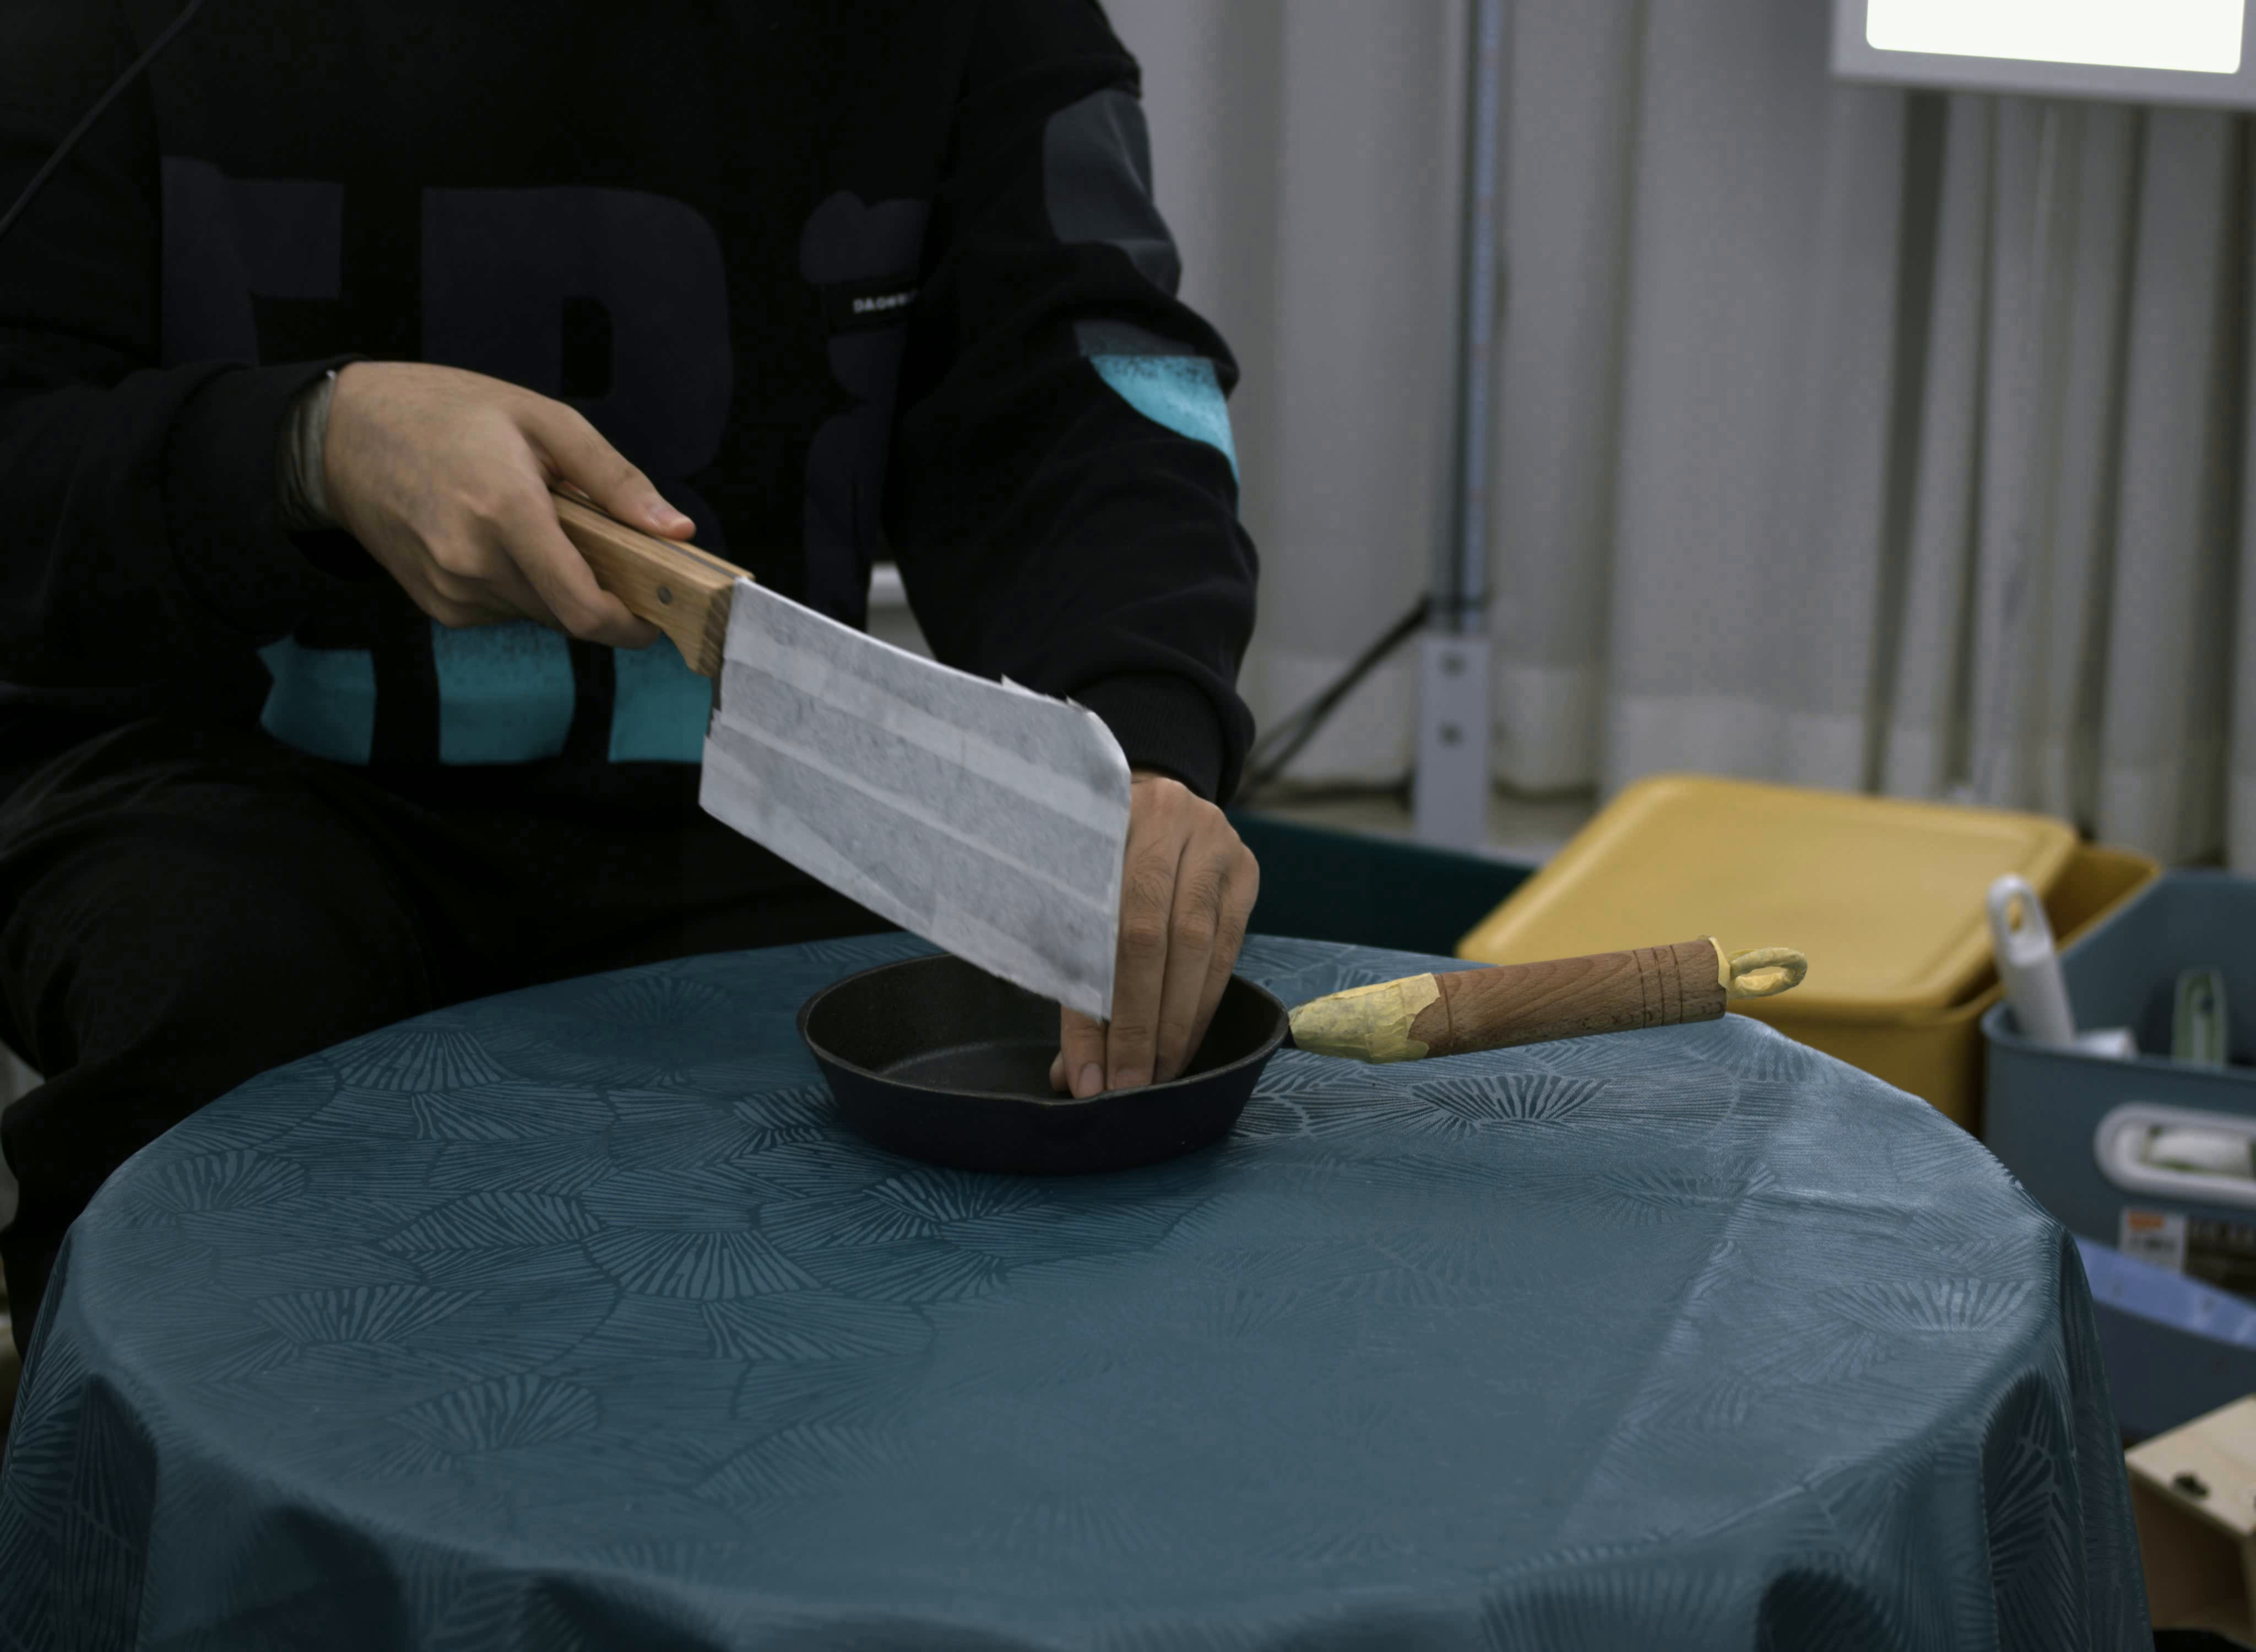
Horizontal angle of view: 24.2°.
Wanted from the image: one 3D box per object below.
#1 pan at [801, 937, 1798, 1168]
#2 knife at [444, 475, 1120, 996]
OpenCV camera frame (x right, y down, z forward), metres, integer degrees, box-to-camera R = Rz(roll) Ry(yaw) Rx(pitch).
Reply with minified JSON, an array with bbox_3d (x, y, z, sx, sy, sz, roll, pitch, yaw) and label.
[{"bbox_3d":[0.057,0.067,1.695,0.323,0.050,0.168,-2,15,-5],"label":"pan"},{"bbox_3d":[-0.114,-0.045,1.716,0.311,0.115,0.022,30,32,32],"label":"knife"}]
